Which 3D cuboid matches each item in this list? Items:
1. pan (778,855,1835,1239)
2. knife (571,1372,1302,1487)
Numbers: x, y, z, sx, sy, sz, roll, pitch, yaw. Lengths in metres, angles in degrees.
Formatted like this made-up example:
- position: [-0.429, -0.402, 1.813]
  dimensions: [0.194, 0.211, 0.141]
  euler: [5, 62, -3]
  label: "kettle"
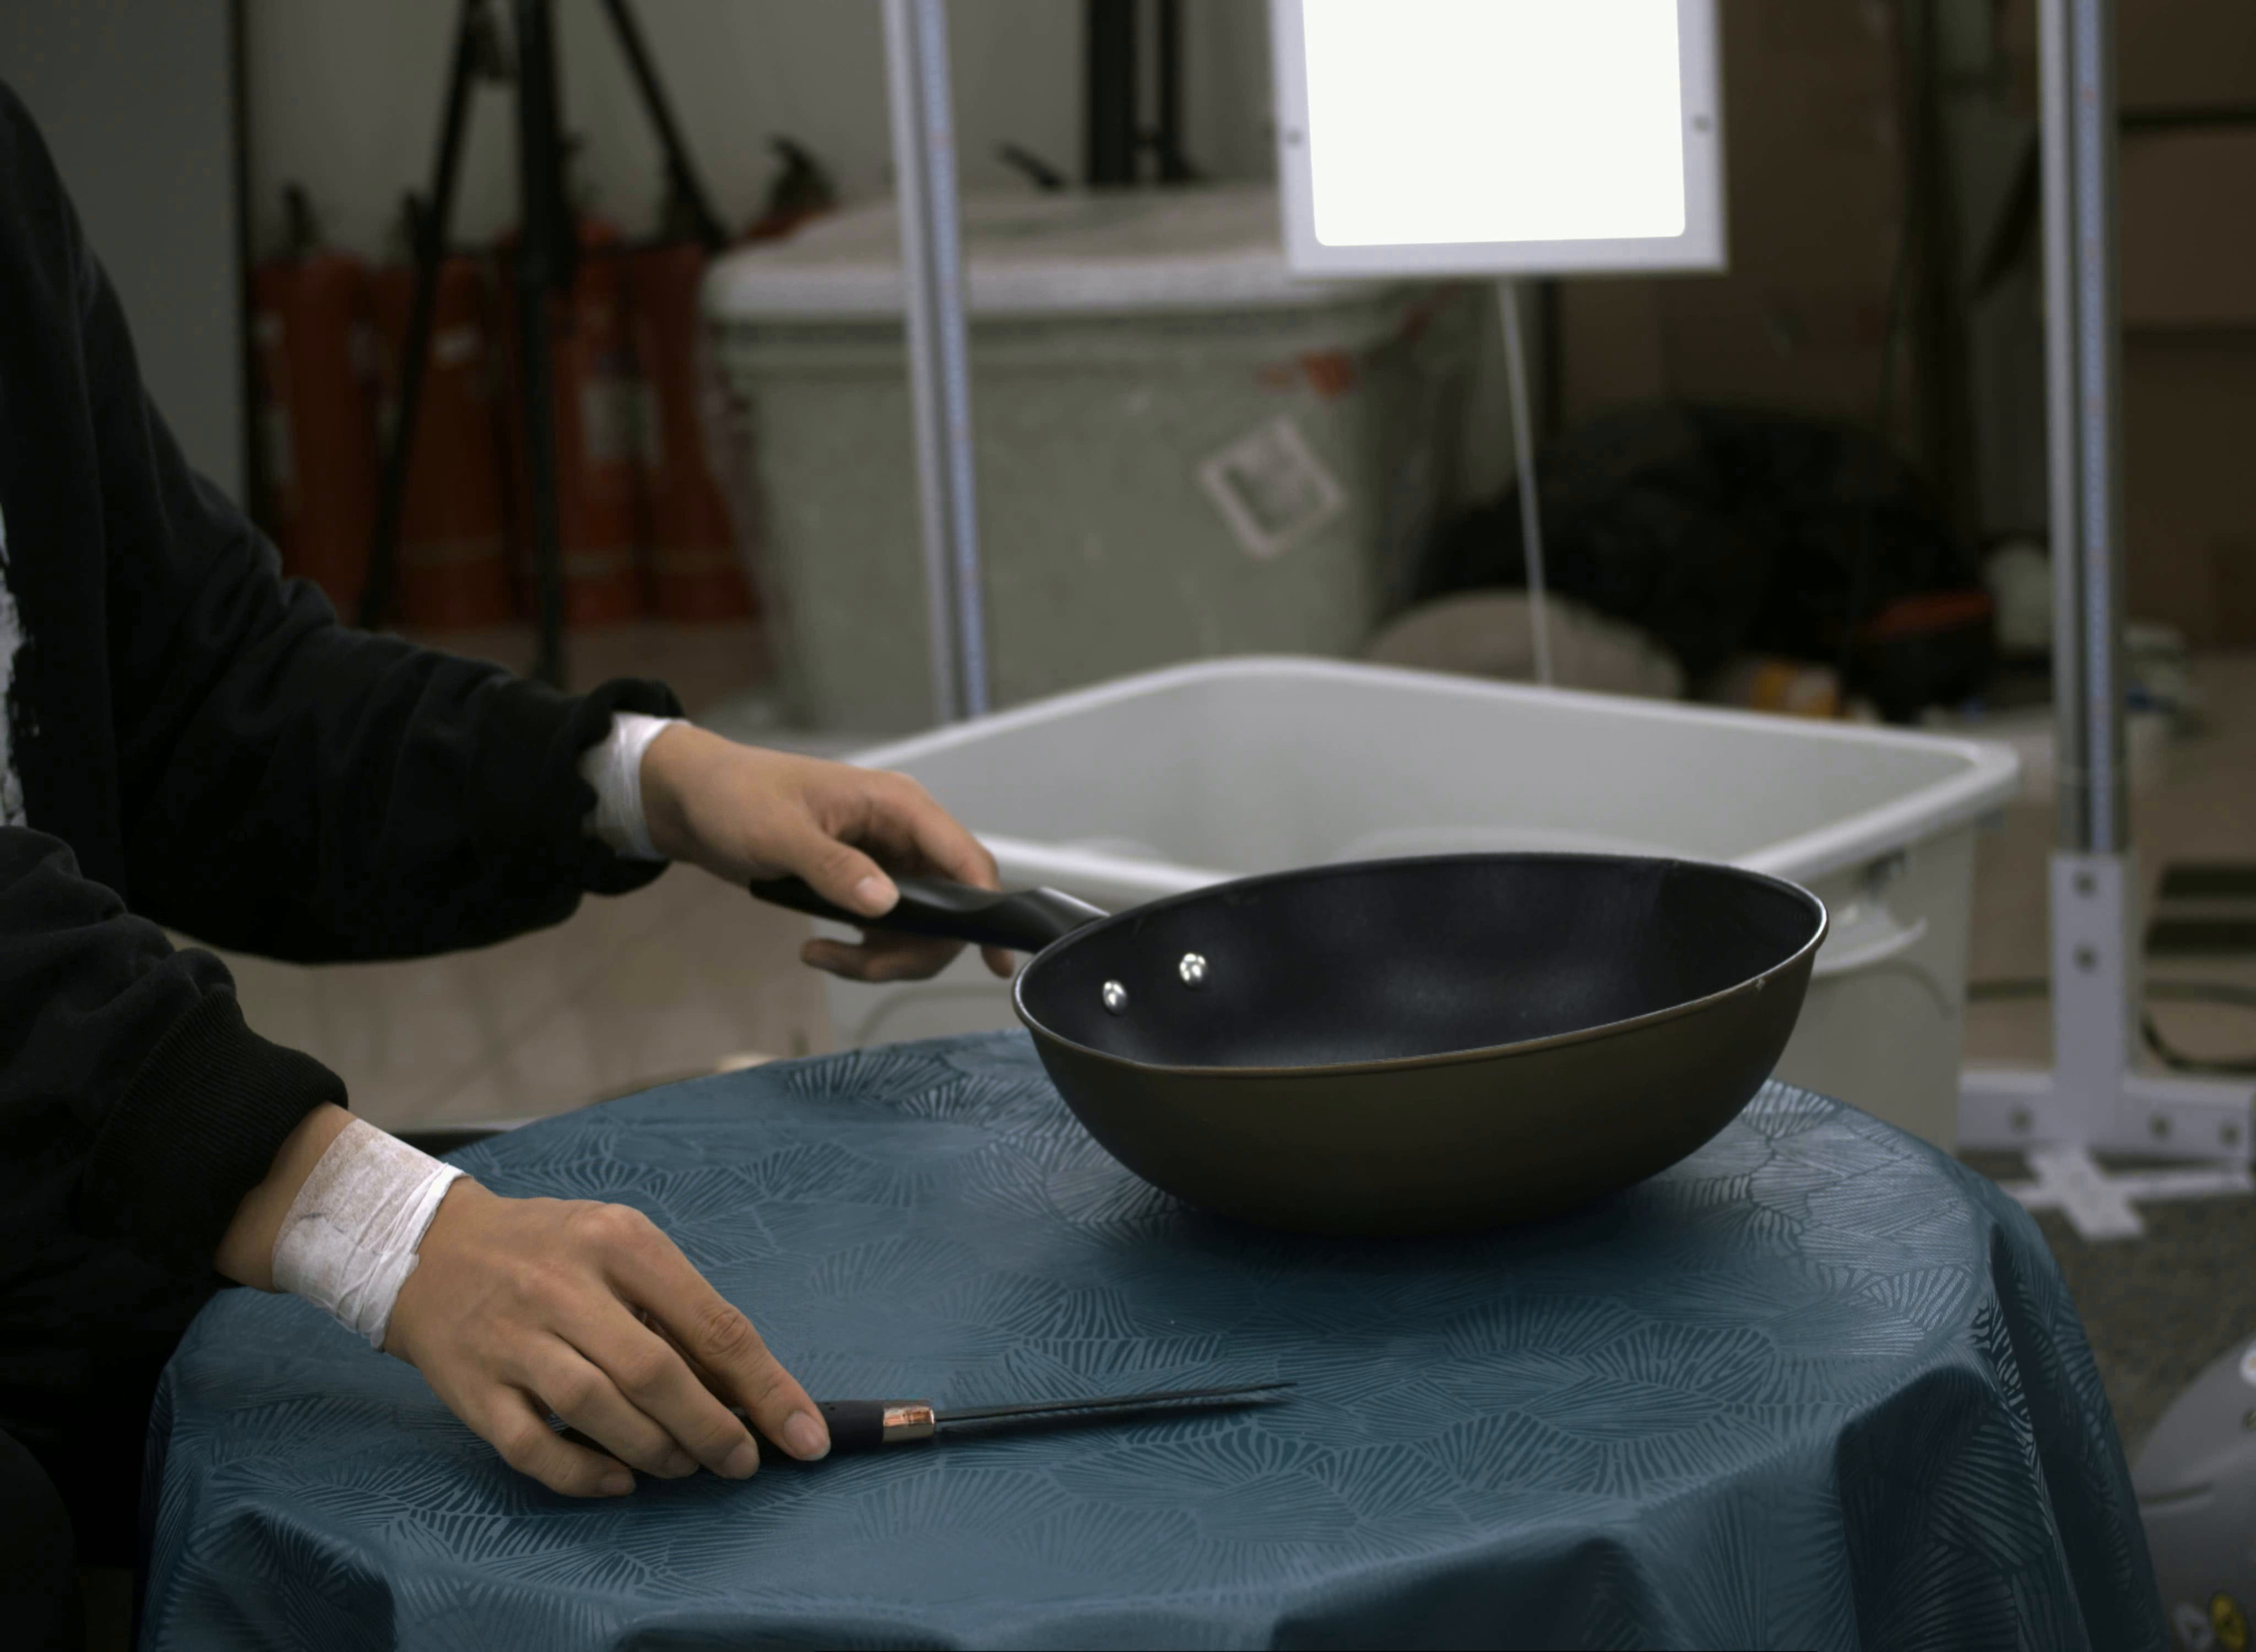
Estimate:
- position: [0.038, 0.074, 1.936]
  dimensions: [0.473, 0.087, 0.281]
  euler: [5, 17, 45]
  label: "pan"
- position: [-0.057, 0.181, 1.678]
  dimensions: [0.224, 0.017, 0.026]
  euler: [-7, -10, -2]
  label: "knife"
